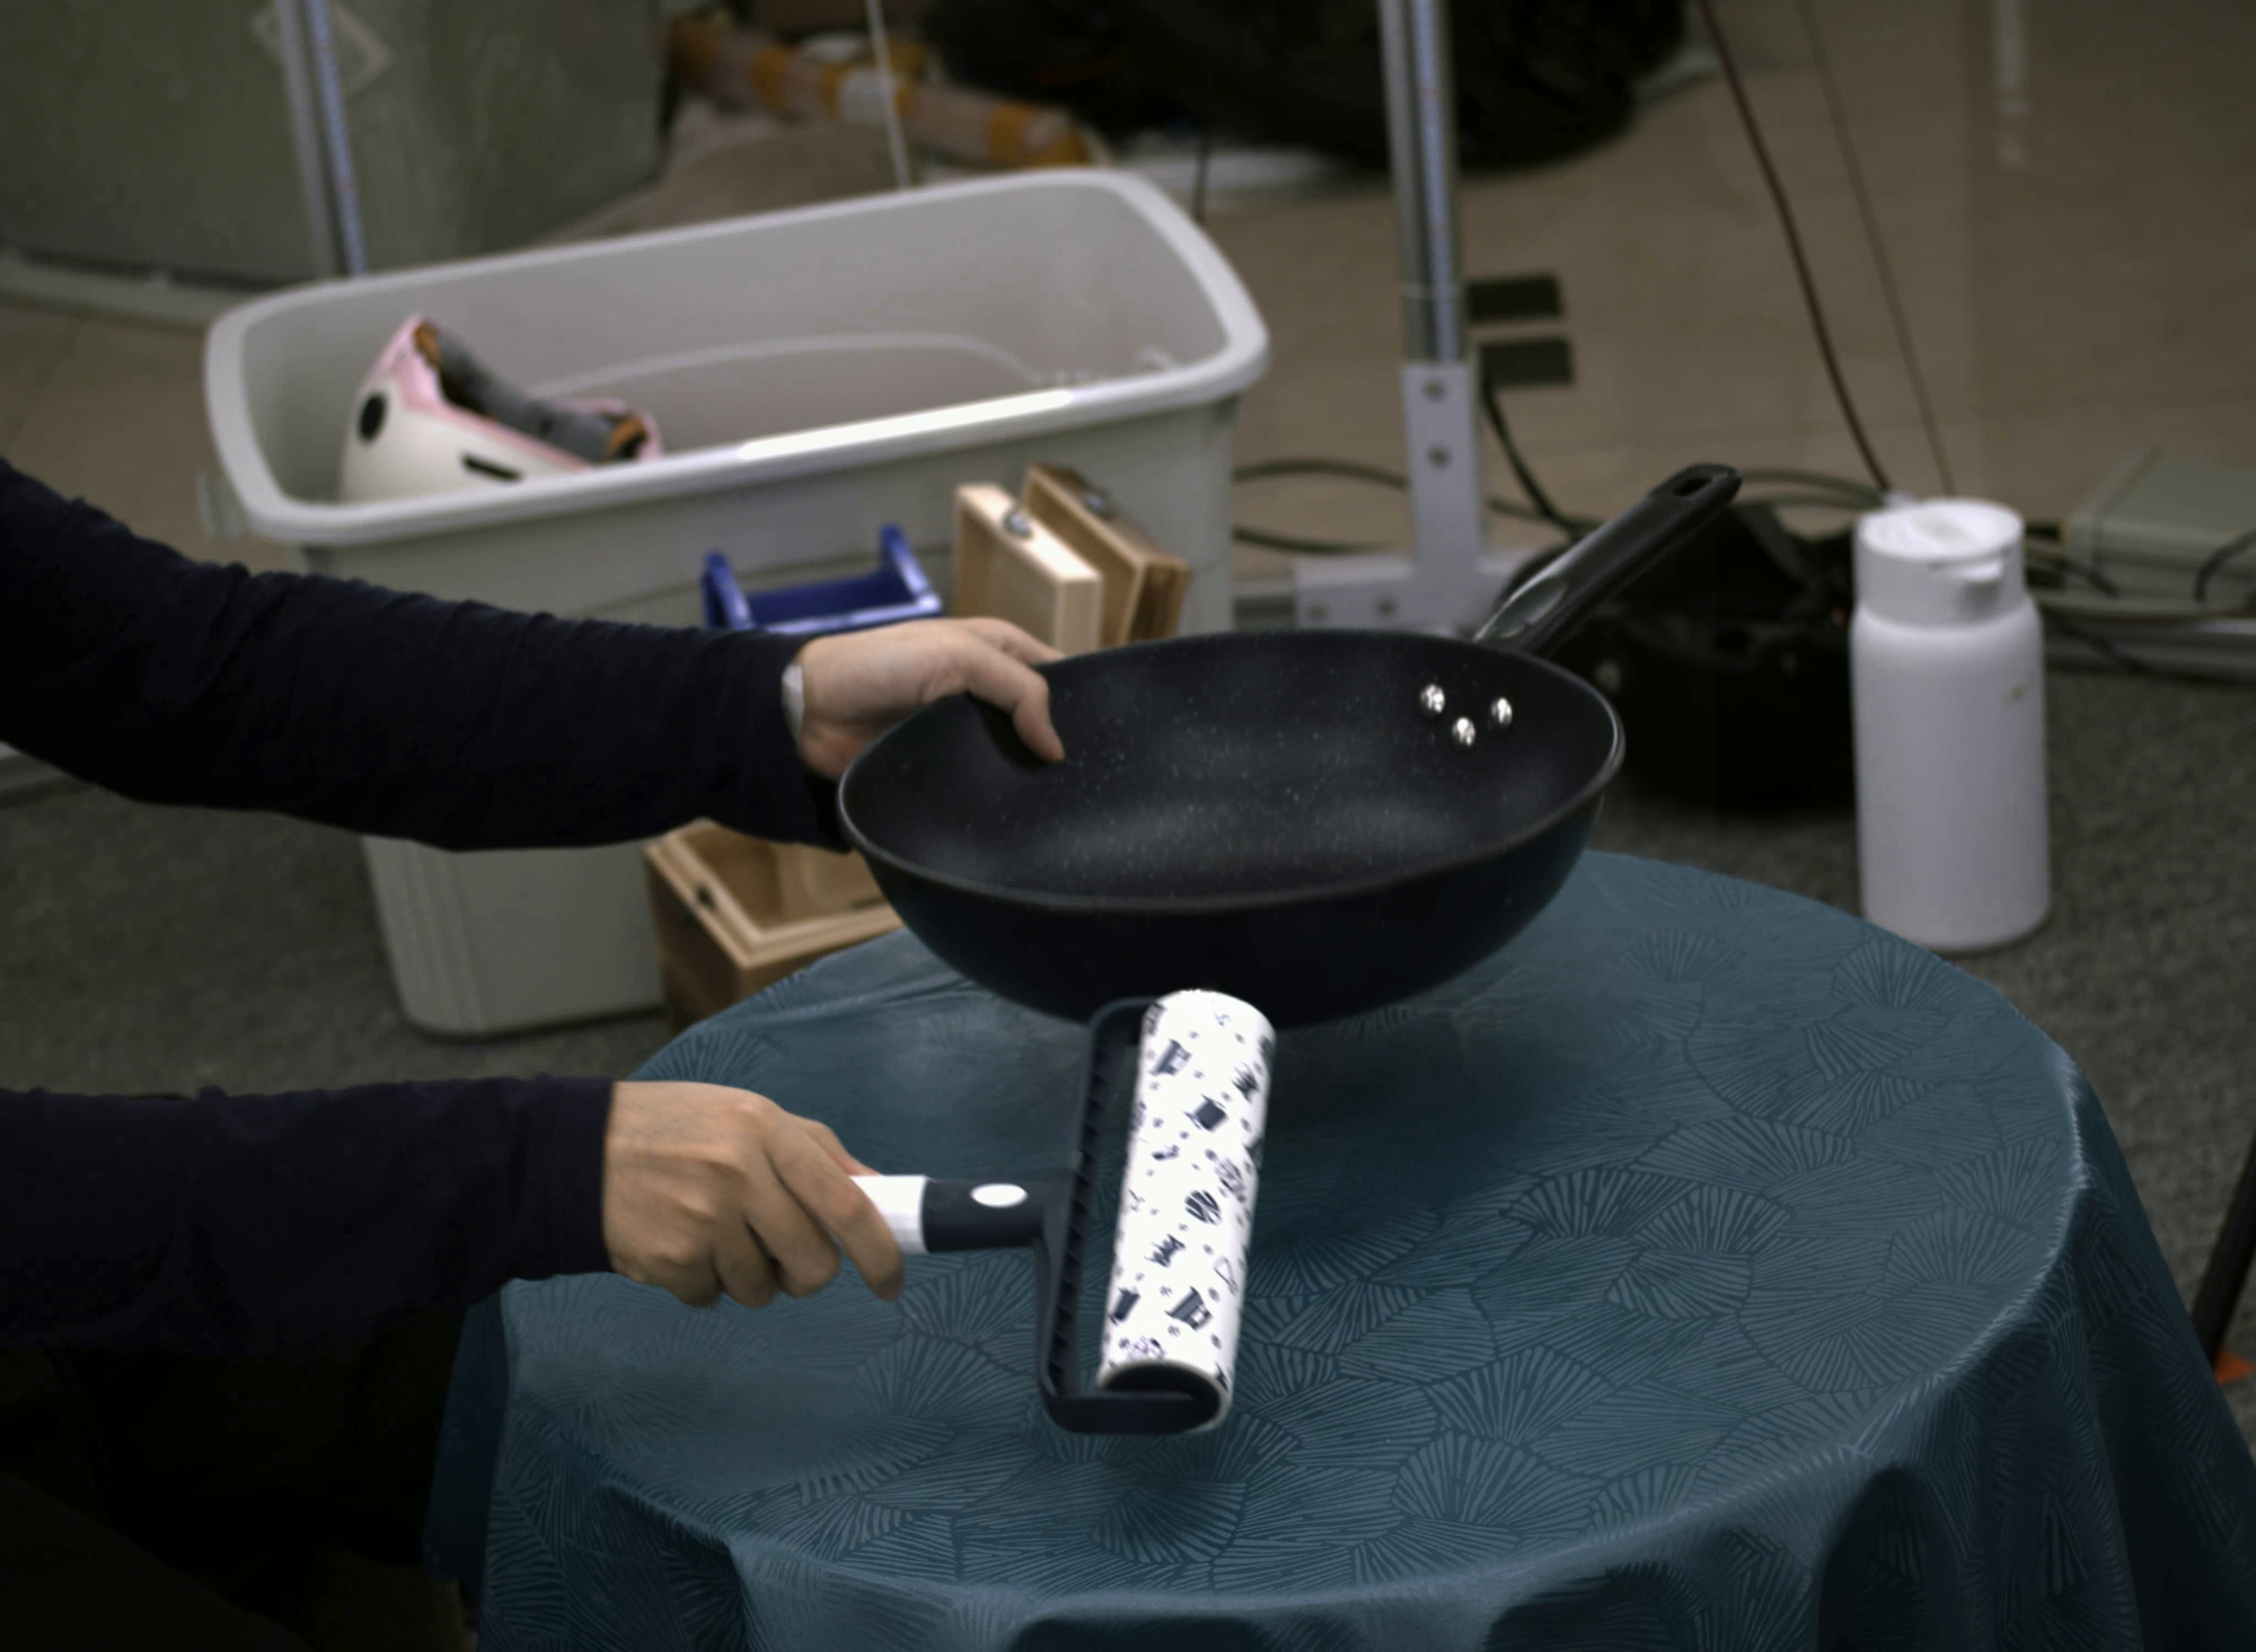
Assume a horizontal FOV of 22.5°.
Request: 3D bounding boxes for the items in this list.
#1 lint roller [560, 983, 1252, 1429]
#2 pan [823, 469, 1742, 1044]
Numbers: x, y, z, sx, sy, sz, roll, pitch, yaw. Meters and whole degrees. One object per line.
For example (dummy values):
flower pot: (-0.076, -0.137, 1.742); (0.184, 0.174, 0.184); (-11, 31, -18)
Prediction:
lint roller: (-0.083, 0.137, 2.000); (0.246, 0.051, 0.173); (-3, 51, 10)
pan: (0.094, -0.025, 2.262); (0.308, 0.113, 0.473); (15, 30, 41)
